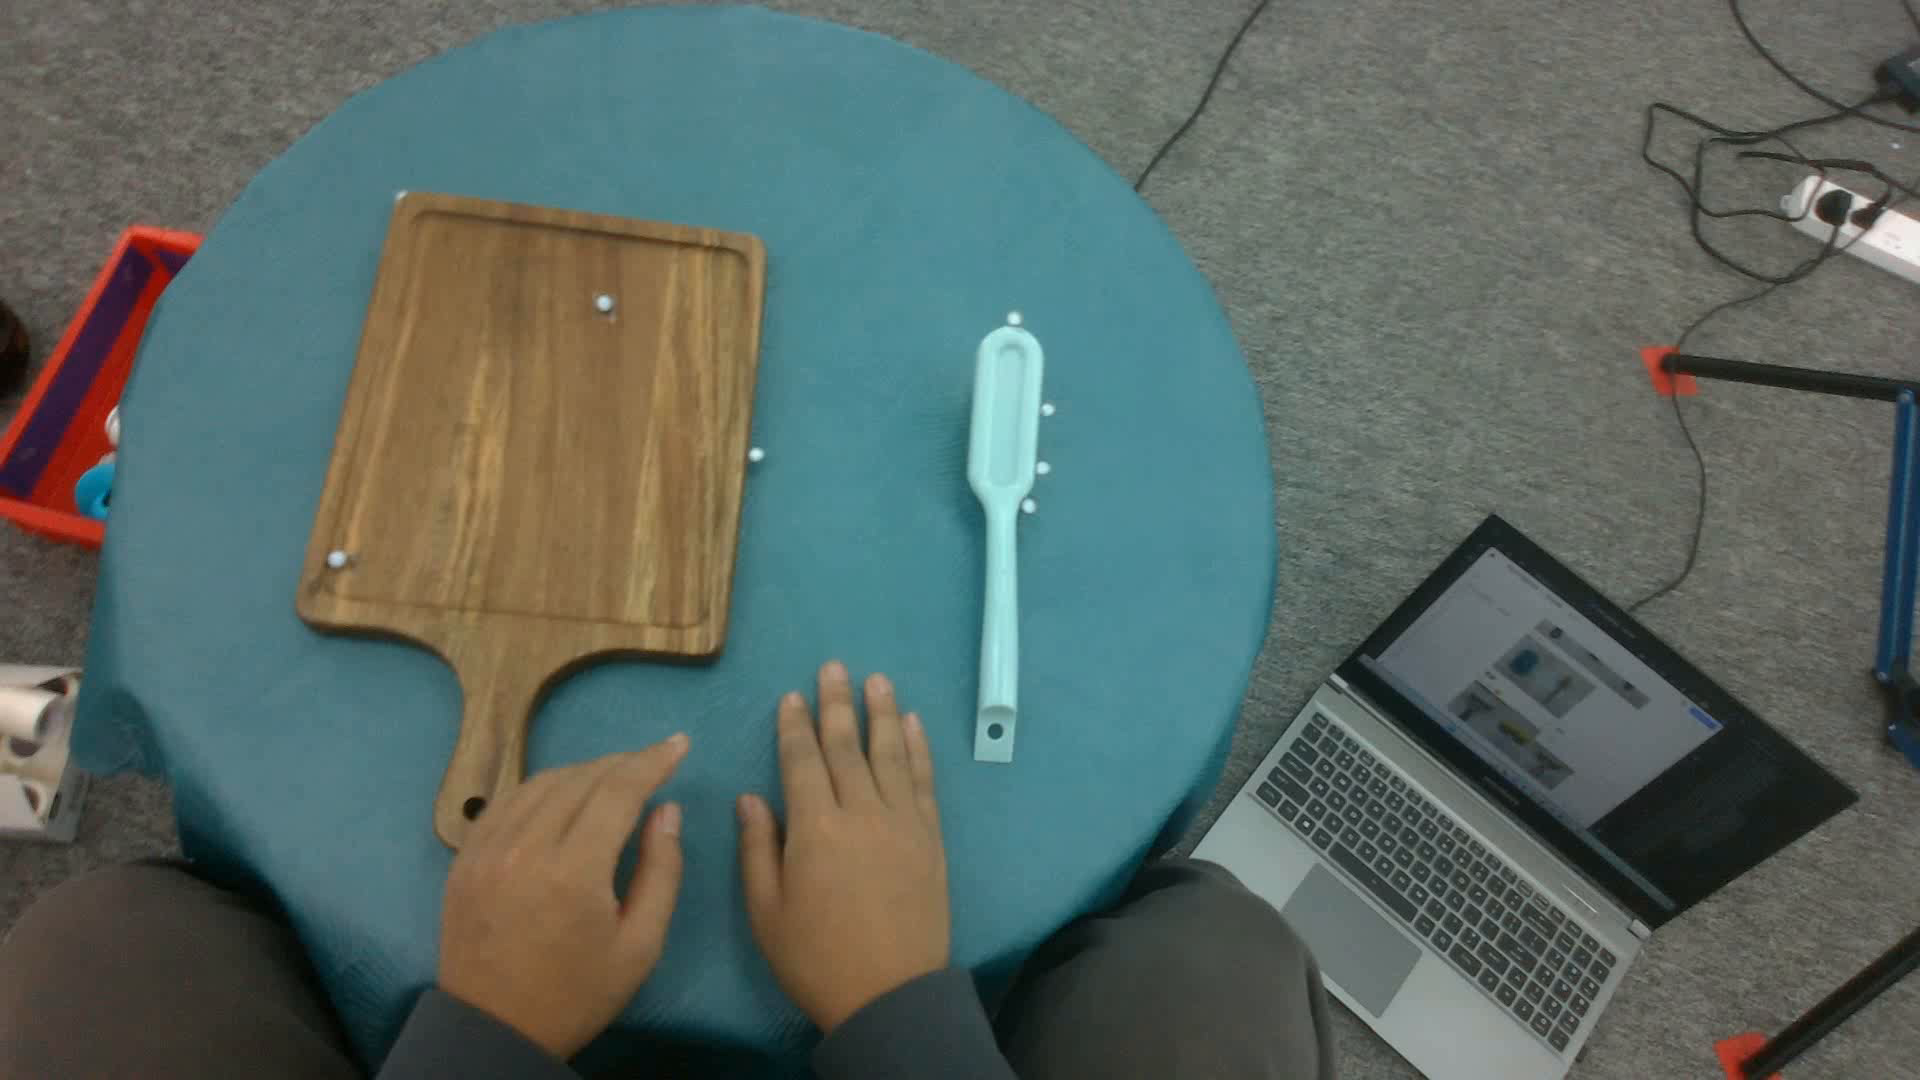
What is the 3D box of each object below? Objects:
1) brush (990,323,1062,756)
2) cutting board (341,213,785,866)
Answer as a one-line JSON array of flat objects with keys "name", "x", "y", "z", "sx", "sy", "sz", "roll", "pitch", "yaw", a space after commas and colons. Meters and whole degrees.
[{"name": "brush", "x": 0.035, "y": -0.001, "z": 0.725, "sx": 0.038, "sy": 0.049, "sz": 0.229, "roll": 1, "pitch": 75, "yaw": -5}, {"name": "cutting board", "x": -0.200, "y": -0.013, "z": 0.704, "sx": 0.201, "sy": 0.023, "sz": 0.353, "roll": 4, "pitch": 66, "yaw": -5}]
